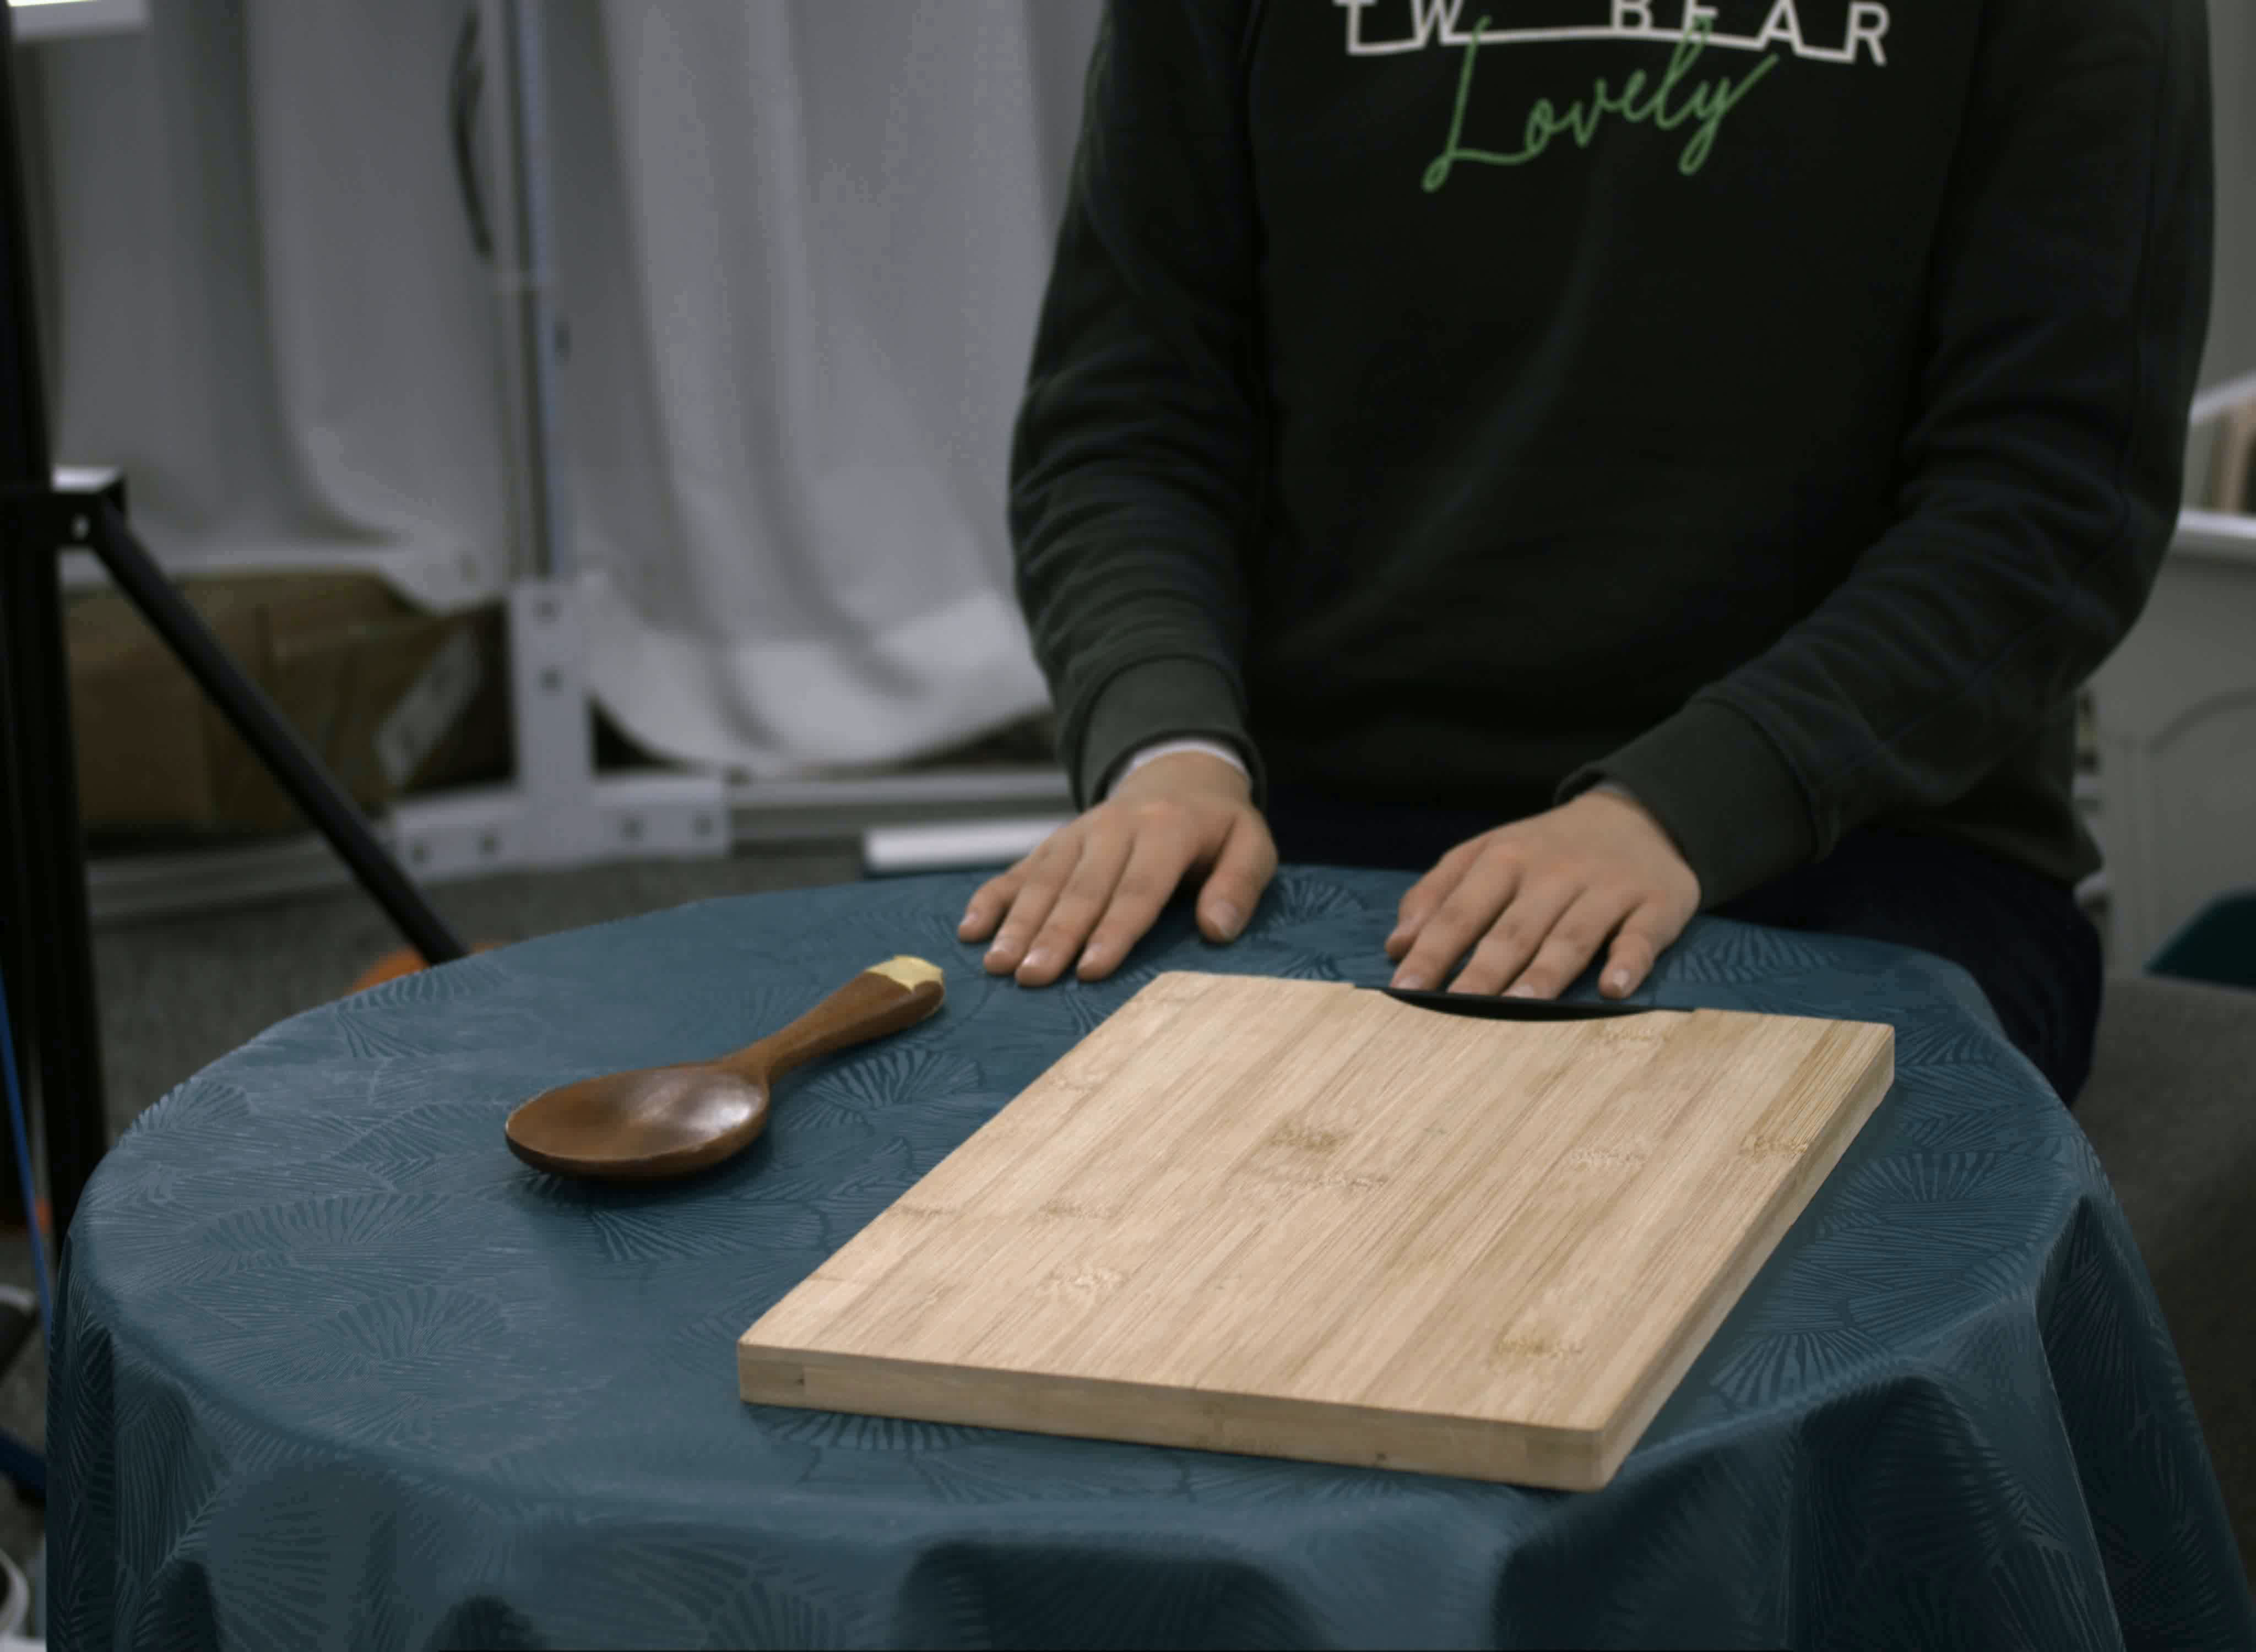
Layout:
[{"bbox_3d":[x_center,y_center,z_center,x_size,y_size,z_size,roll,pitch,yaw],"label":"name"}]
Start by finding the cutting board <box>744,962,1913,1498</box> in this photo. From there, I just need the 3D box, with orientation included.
[{"bbox_3d":[0.069,0.107,1.522,0.253,0.023,0.344,4,17,20],"label":"cutting board"}]

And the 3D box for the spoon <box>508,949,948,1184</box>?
[{"bbox_3d":[-0.116,0.076,1.657,0.077,0.017,0.212,4,18,29],"label":"spoon"}]
